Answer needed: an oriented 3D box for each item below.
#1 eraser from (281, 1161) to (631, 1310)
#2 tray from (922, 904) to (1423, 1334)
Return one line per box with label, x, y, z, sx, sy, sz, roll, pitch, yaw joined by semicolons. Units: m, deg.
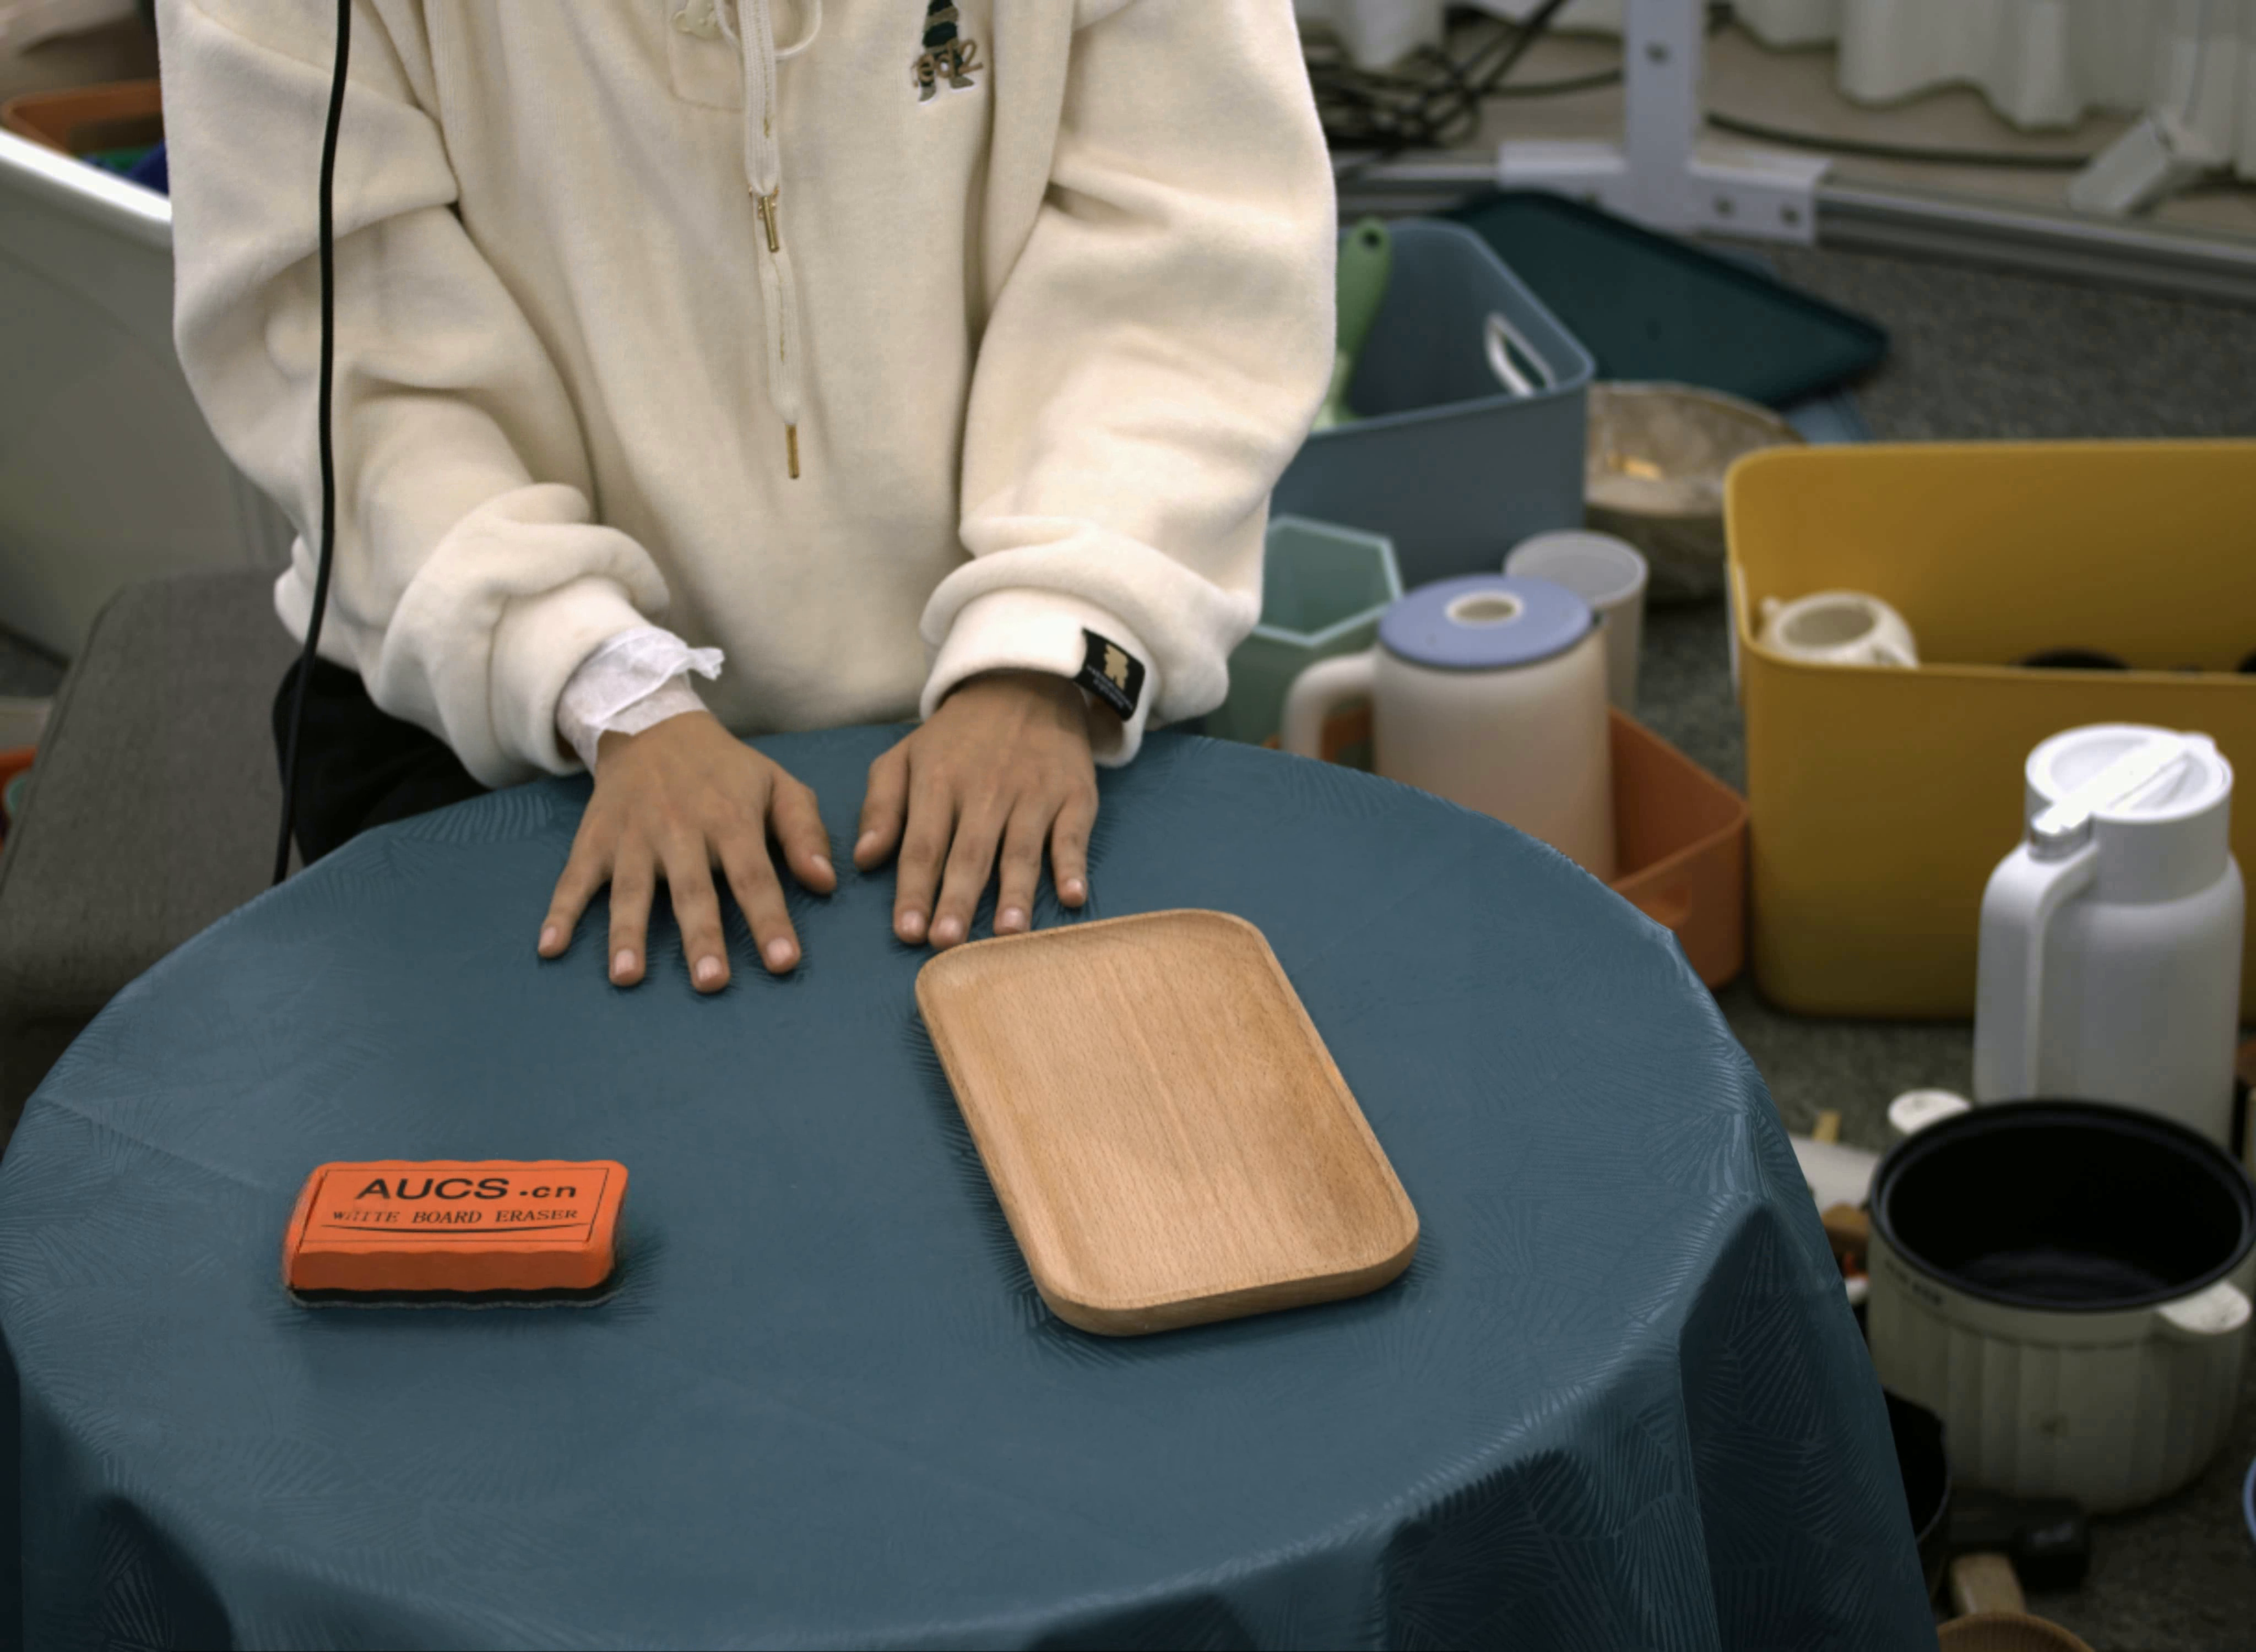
eraser;-0.219;0.134;1.833;0.107;0.022;0.060;0;28;5
tray;0.011;0.096;1.890;0.130;0.022;0.253;-5;27;-11
